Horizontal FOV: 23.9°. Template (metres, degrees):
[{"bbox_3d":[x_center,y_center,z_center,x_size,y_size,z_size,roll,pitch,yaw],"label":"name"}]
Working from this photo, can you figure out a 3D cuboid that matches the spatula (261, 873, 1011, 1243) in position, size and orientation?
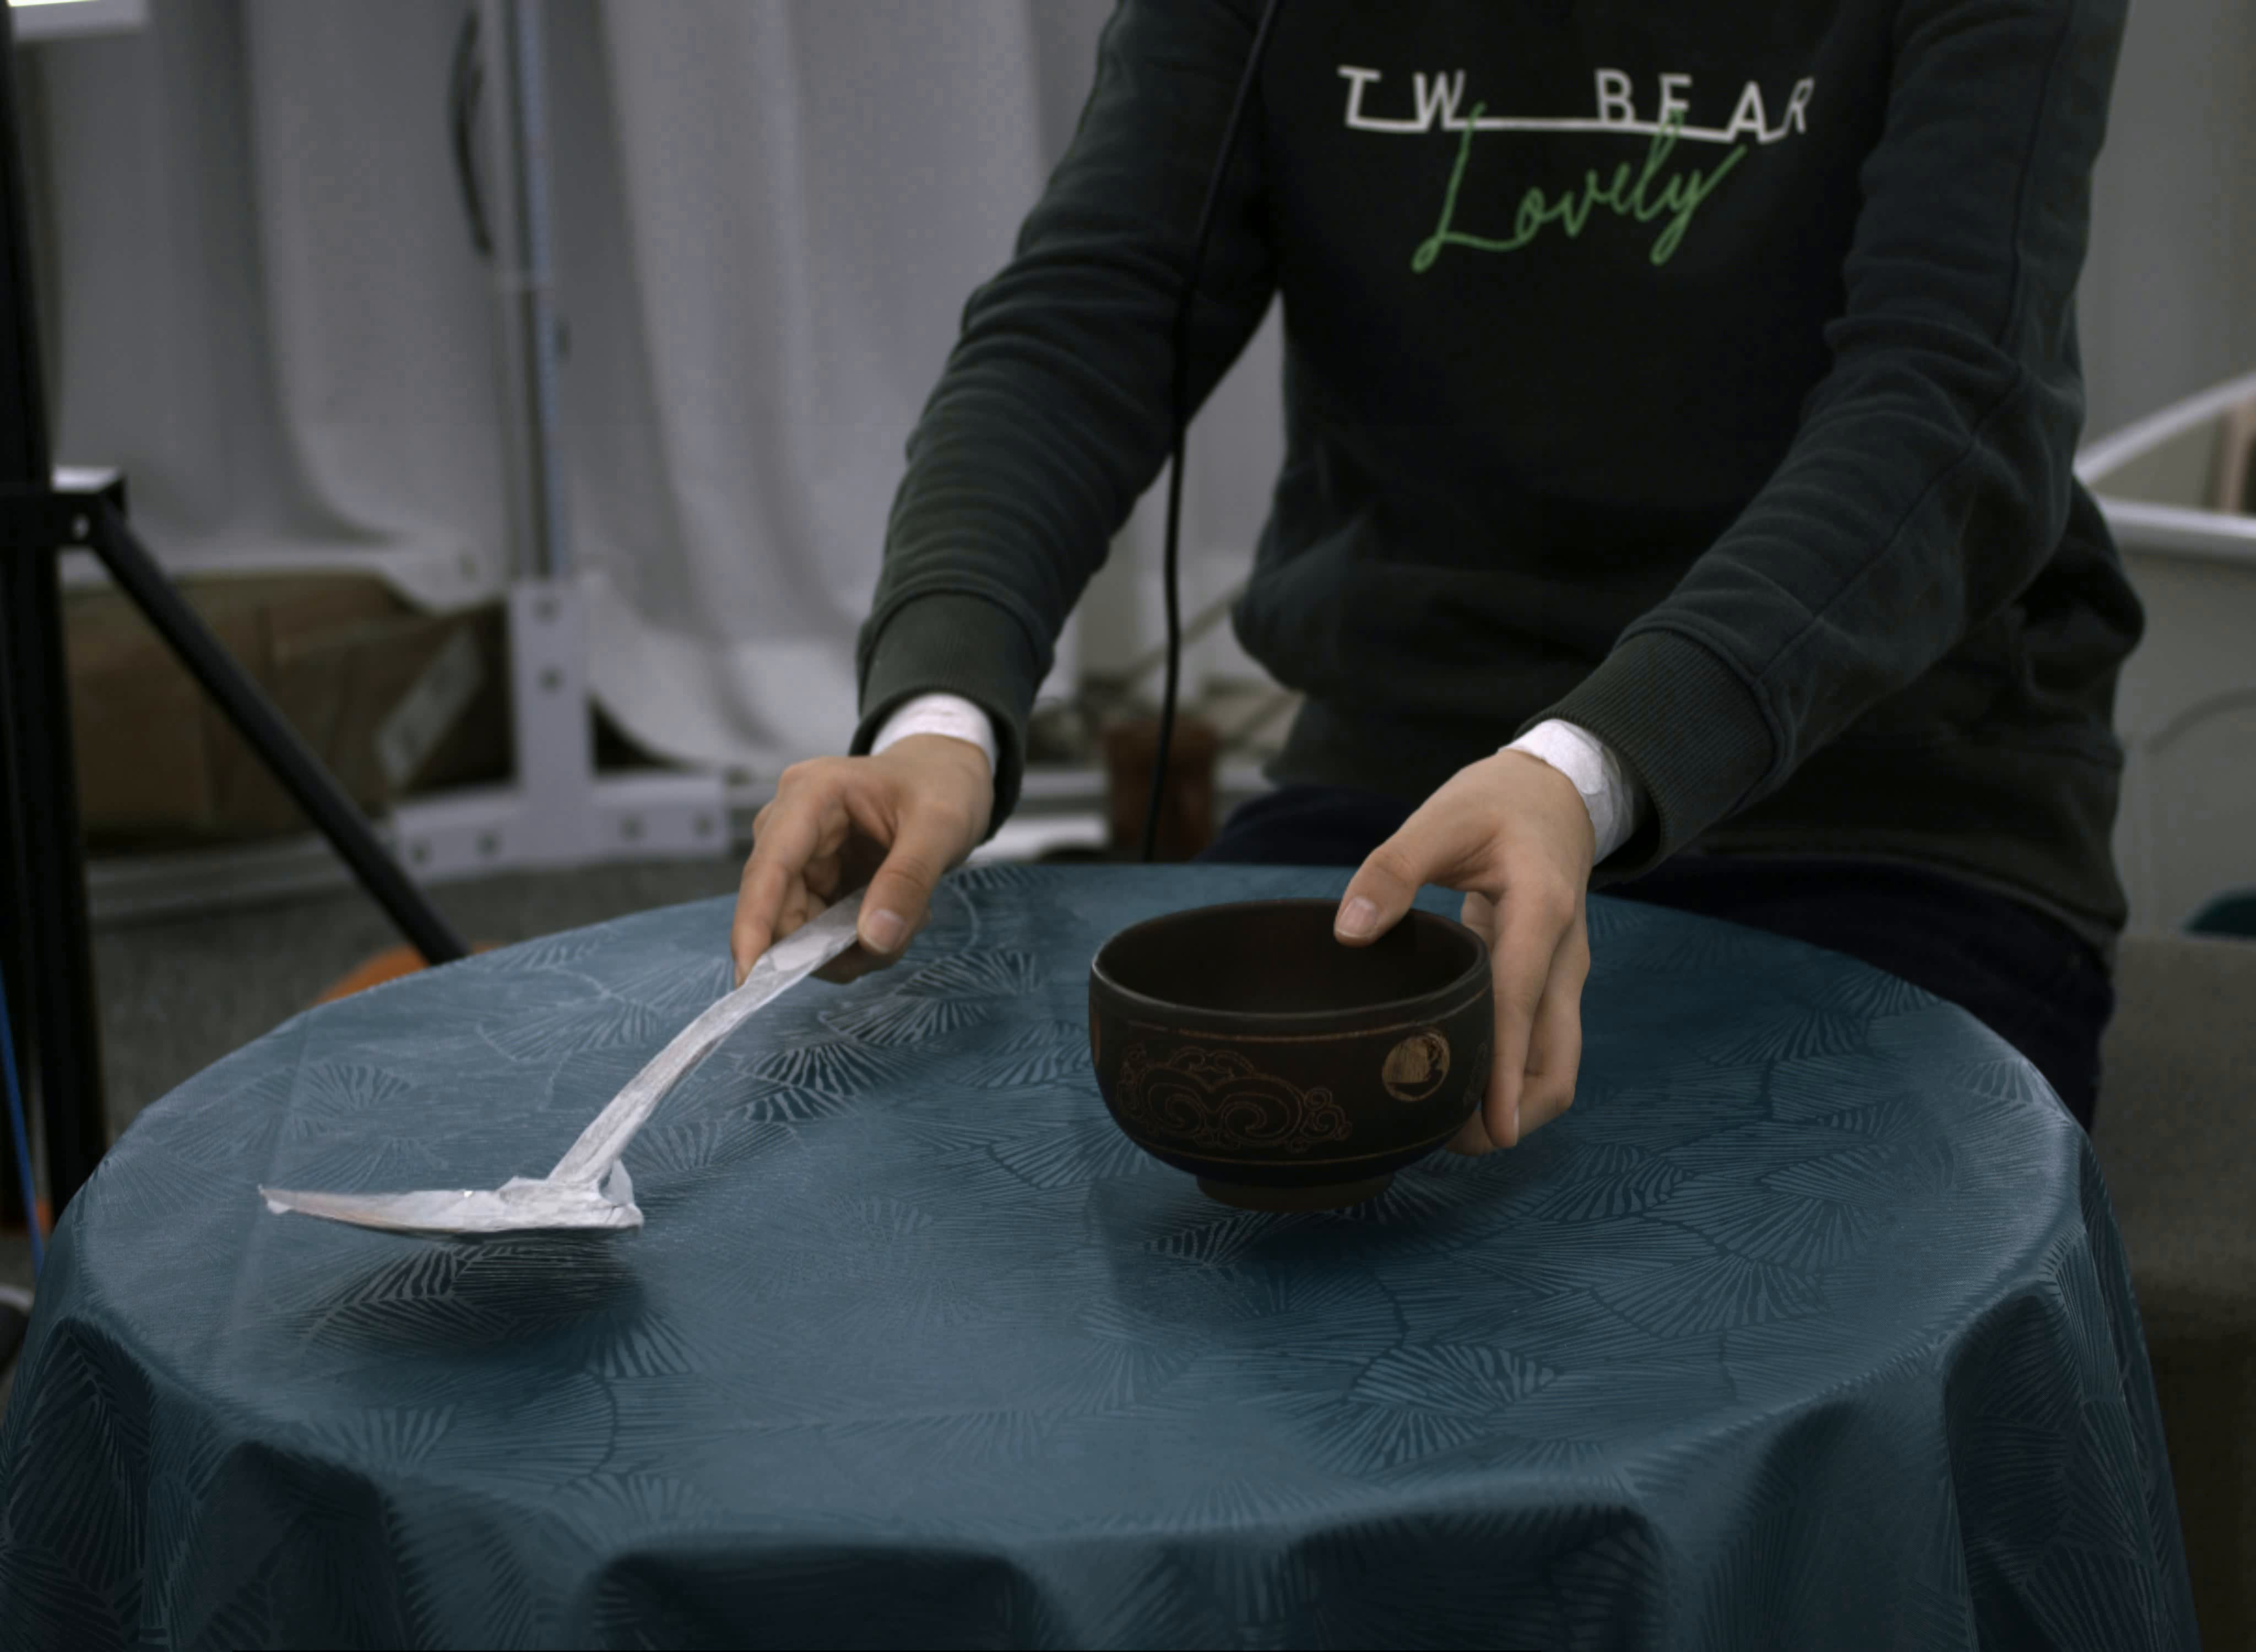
[{"bbox_3d":[-0.126,0.061,1.602,0.100,0.044,0.360,2,22,26],"label":"spatula"}]

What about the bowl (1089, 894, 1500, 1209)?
[{"bbox_3d":[0.048,0.068,1.517,0.117,0.070,0.118,-1,15,-1],"label":"bowl"}]
